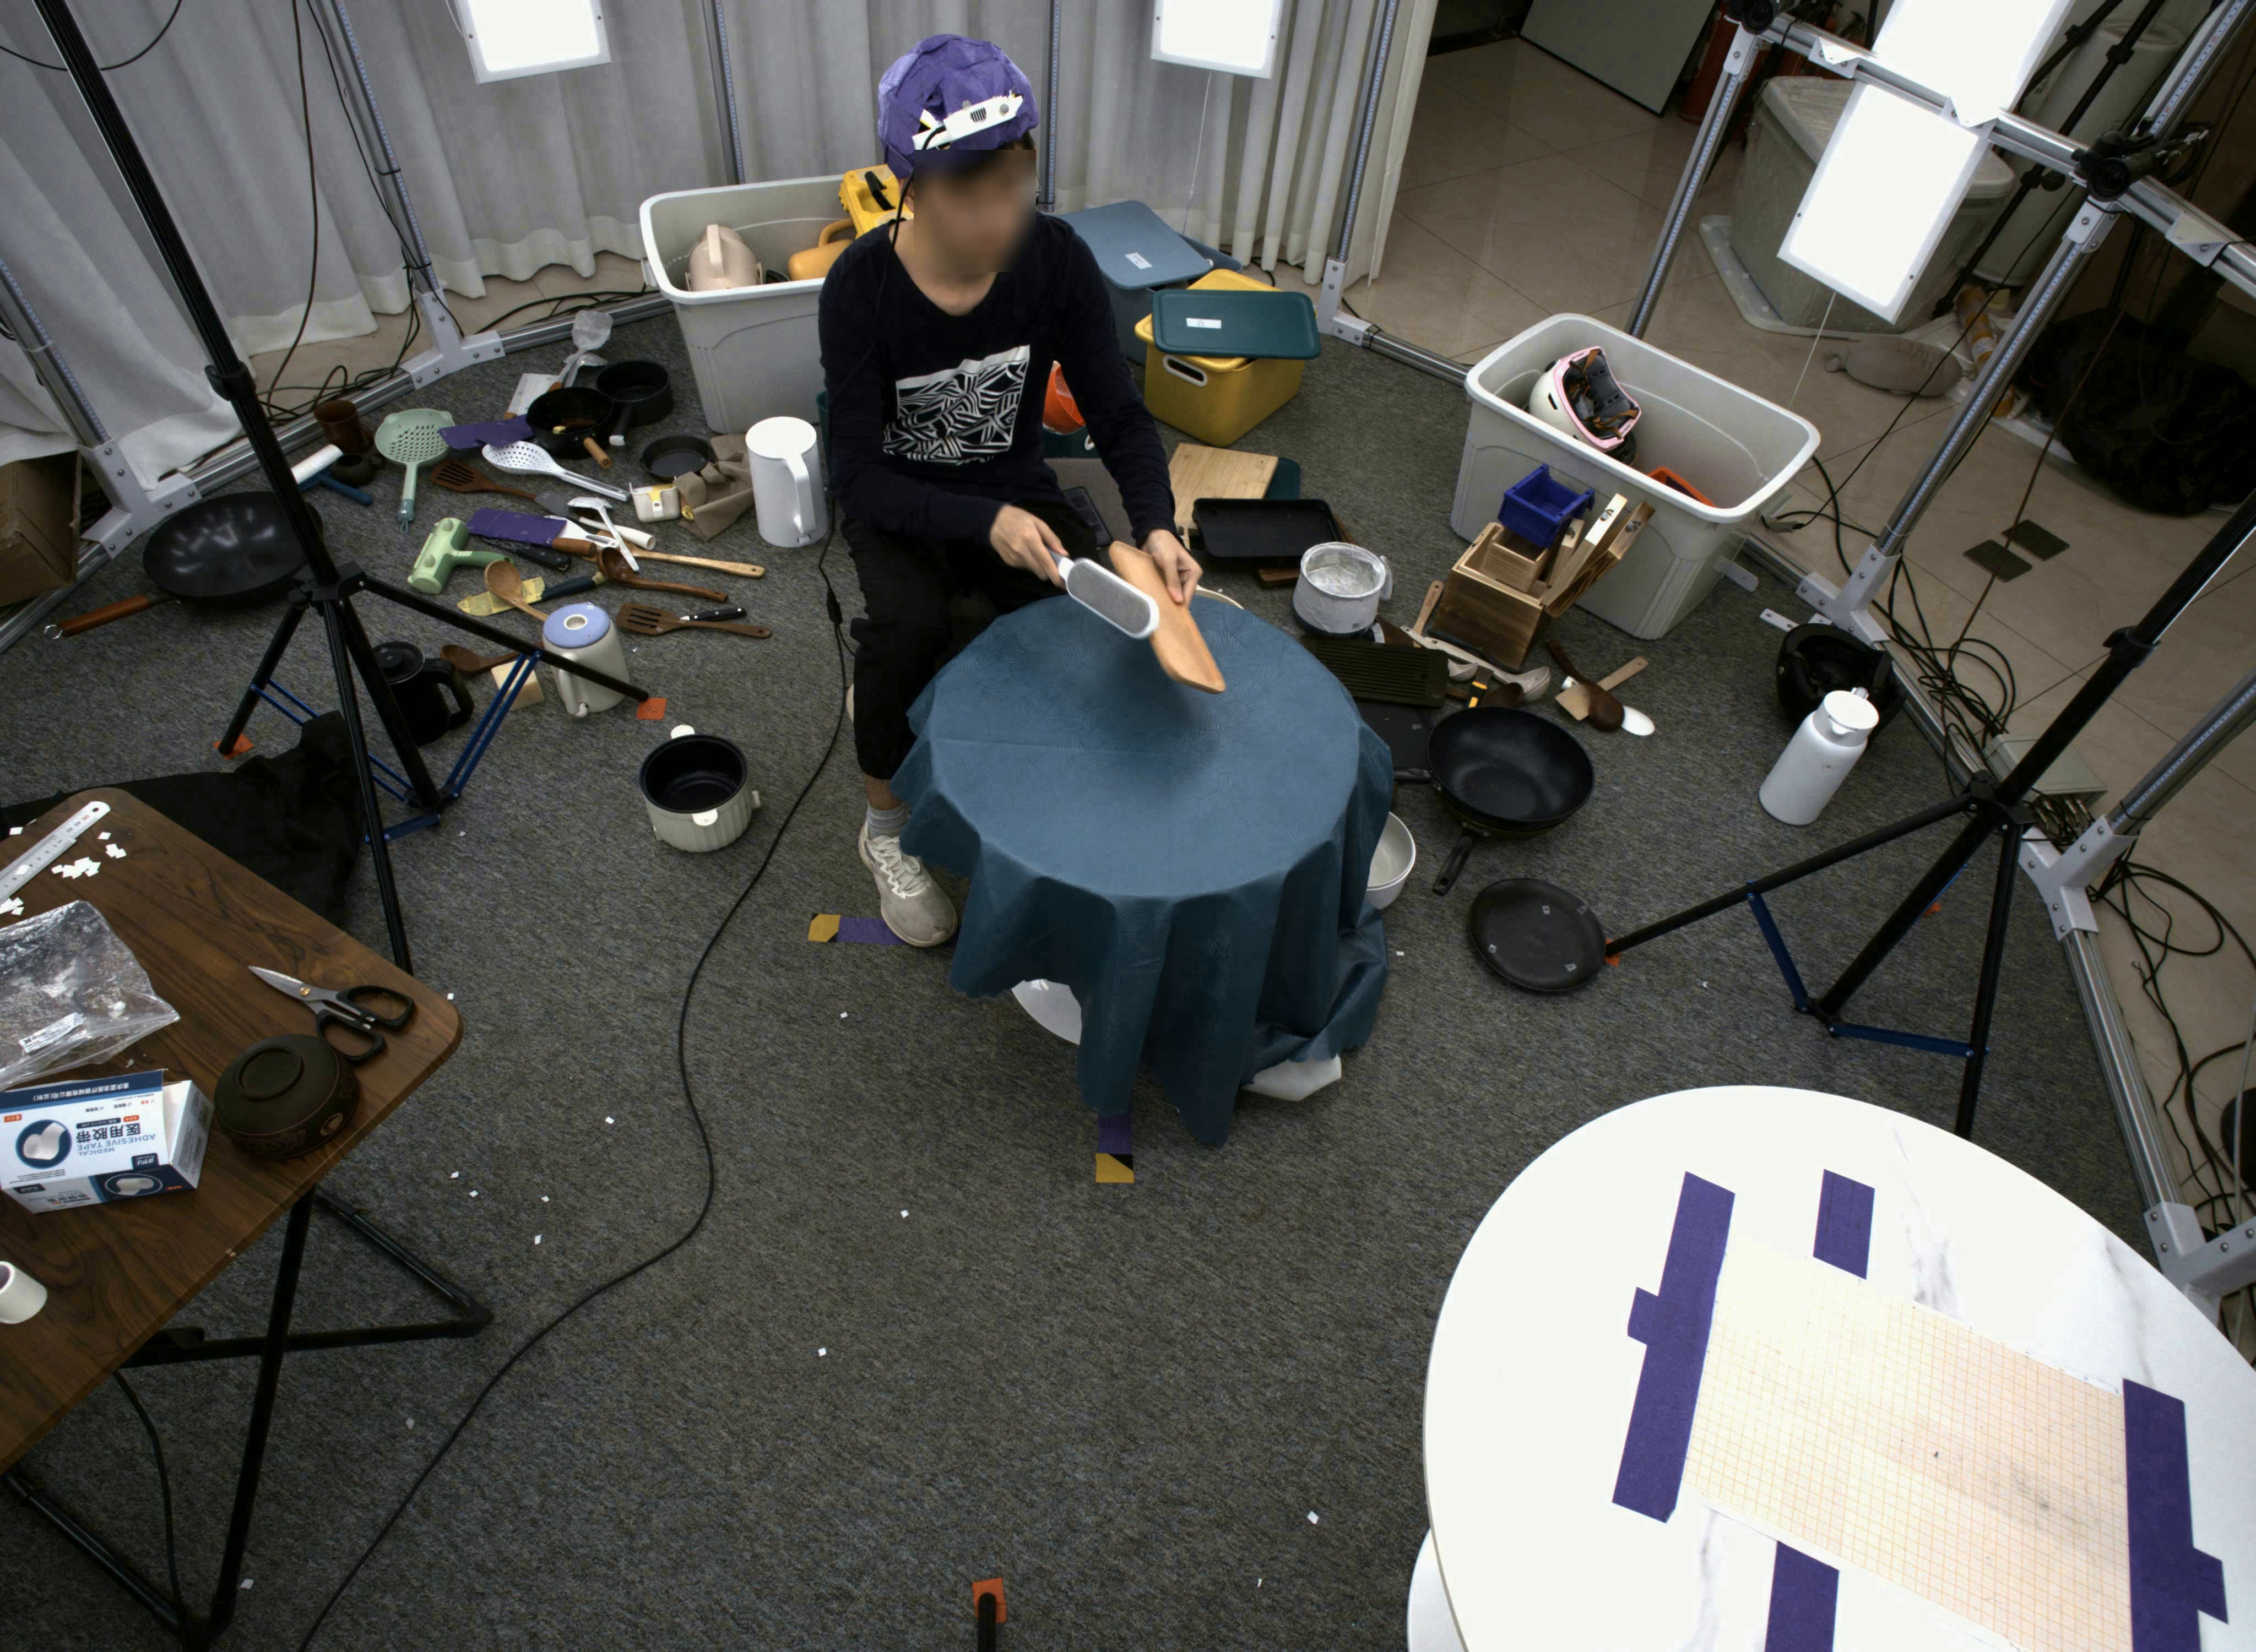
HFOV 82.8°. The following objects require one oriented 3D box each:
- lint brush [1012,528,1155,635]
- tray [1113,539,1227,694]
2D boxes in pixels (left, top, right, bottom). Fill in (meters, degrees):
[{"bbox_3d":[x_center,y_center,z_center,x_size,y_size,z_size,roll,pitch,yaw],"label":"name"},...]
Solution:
[{"bbox_3d":[-0.066,-0.347,1.781,0.021,0.059,0.314,-3,32,-44],"label":"lint brush"},{"bbox_3d":[0.056,-0.289,1.771,0.129,0.022,0.256,18,42,-48],"label":"tray"}]
